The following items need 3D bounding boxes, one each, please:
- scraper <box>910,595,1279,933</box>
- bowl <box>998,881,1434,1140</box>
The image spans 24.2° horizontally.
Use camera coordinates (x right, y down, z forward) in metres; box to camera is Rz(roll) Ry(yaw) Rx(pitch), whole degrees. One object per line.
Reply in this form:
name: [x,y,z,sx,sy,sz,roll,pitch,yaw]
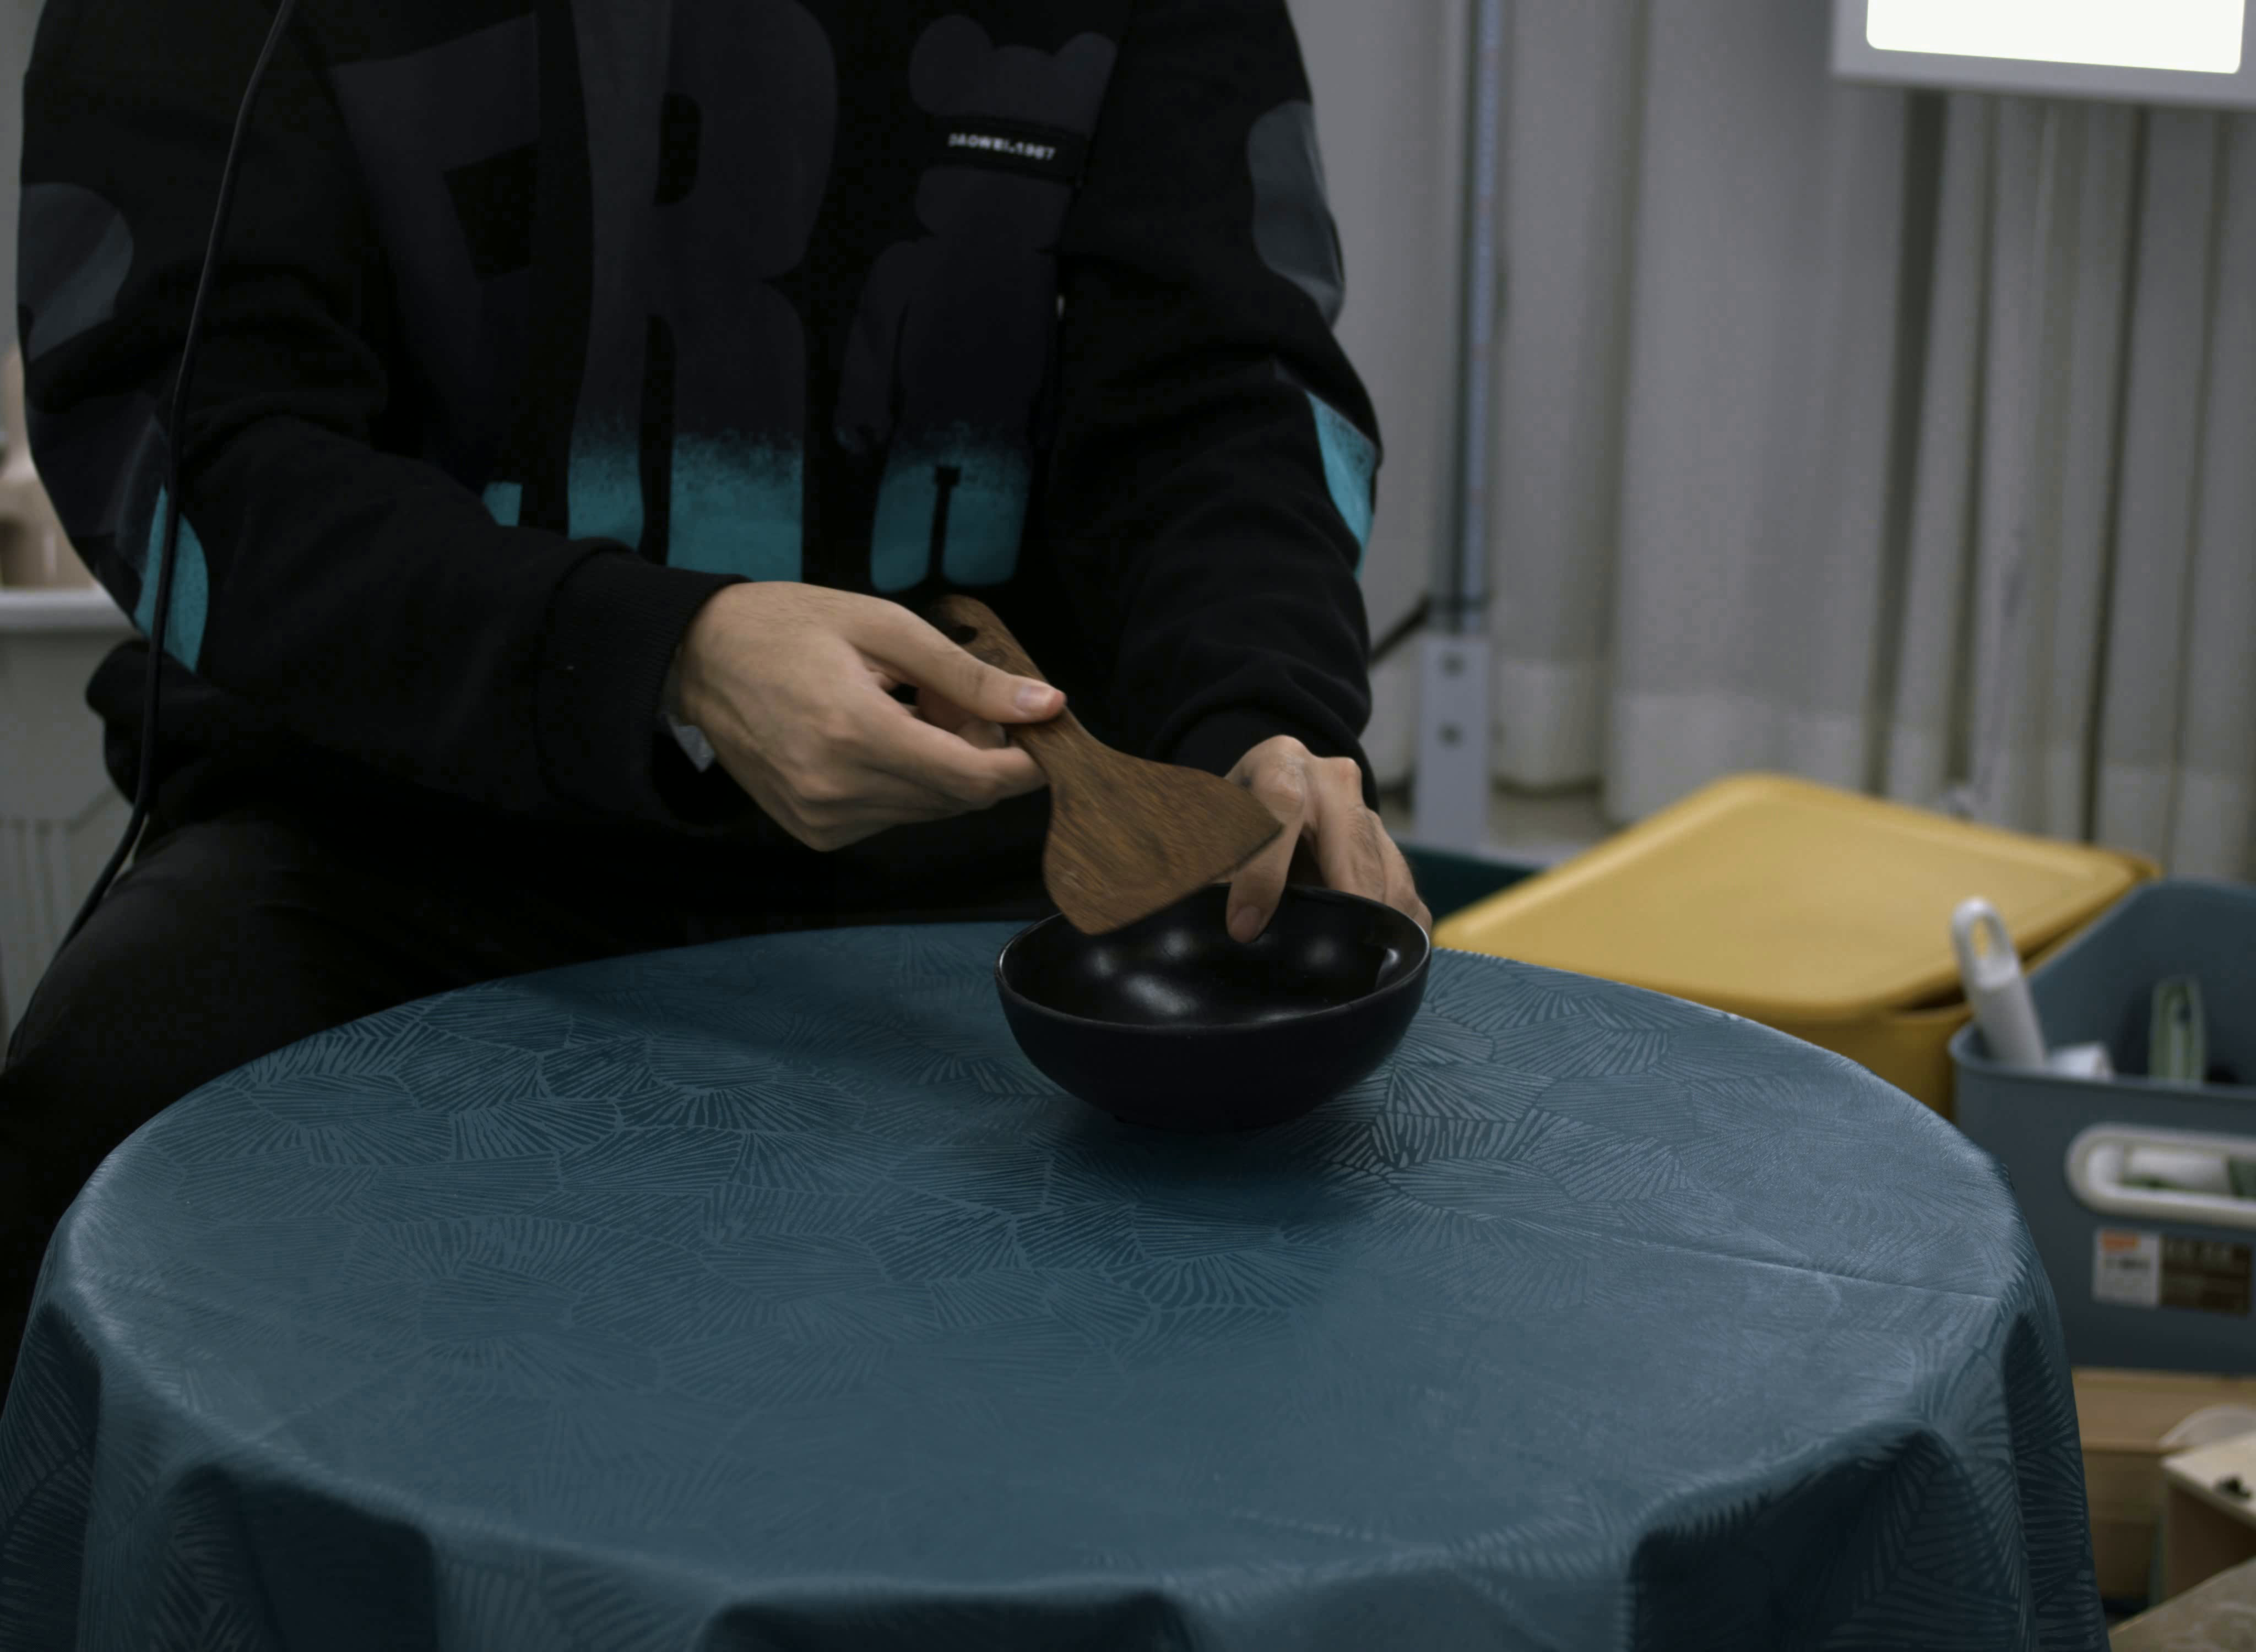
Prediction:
scraper: [-0.022,-0.026,1.714,0.076,0.011,0.208,-28,37,-10]
bowl: [0.030,0.064,1.671,0.139,0.050,0.139,-5,19,2]
